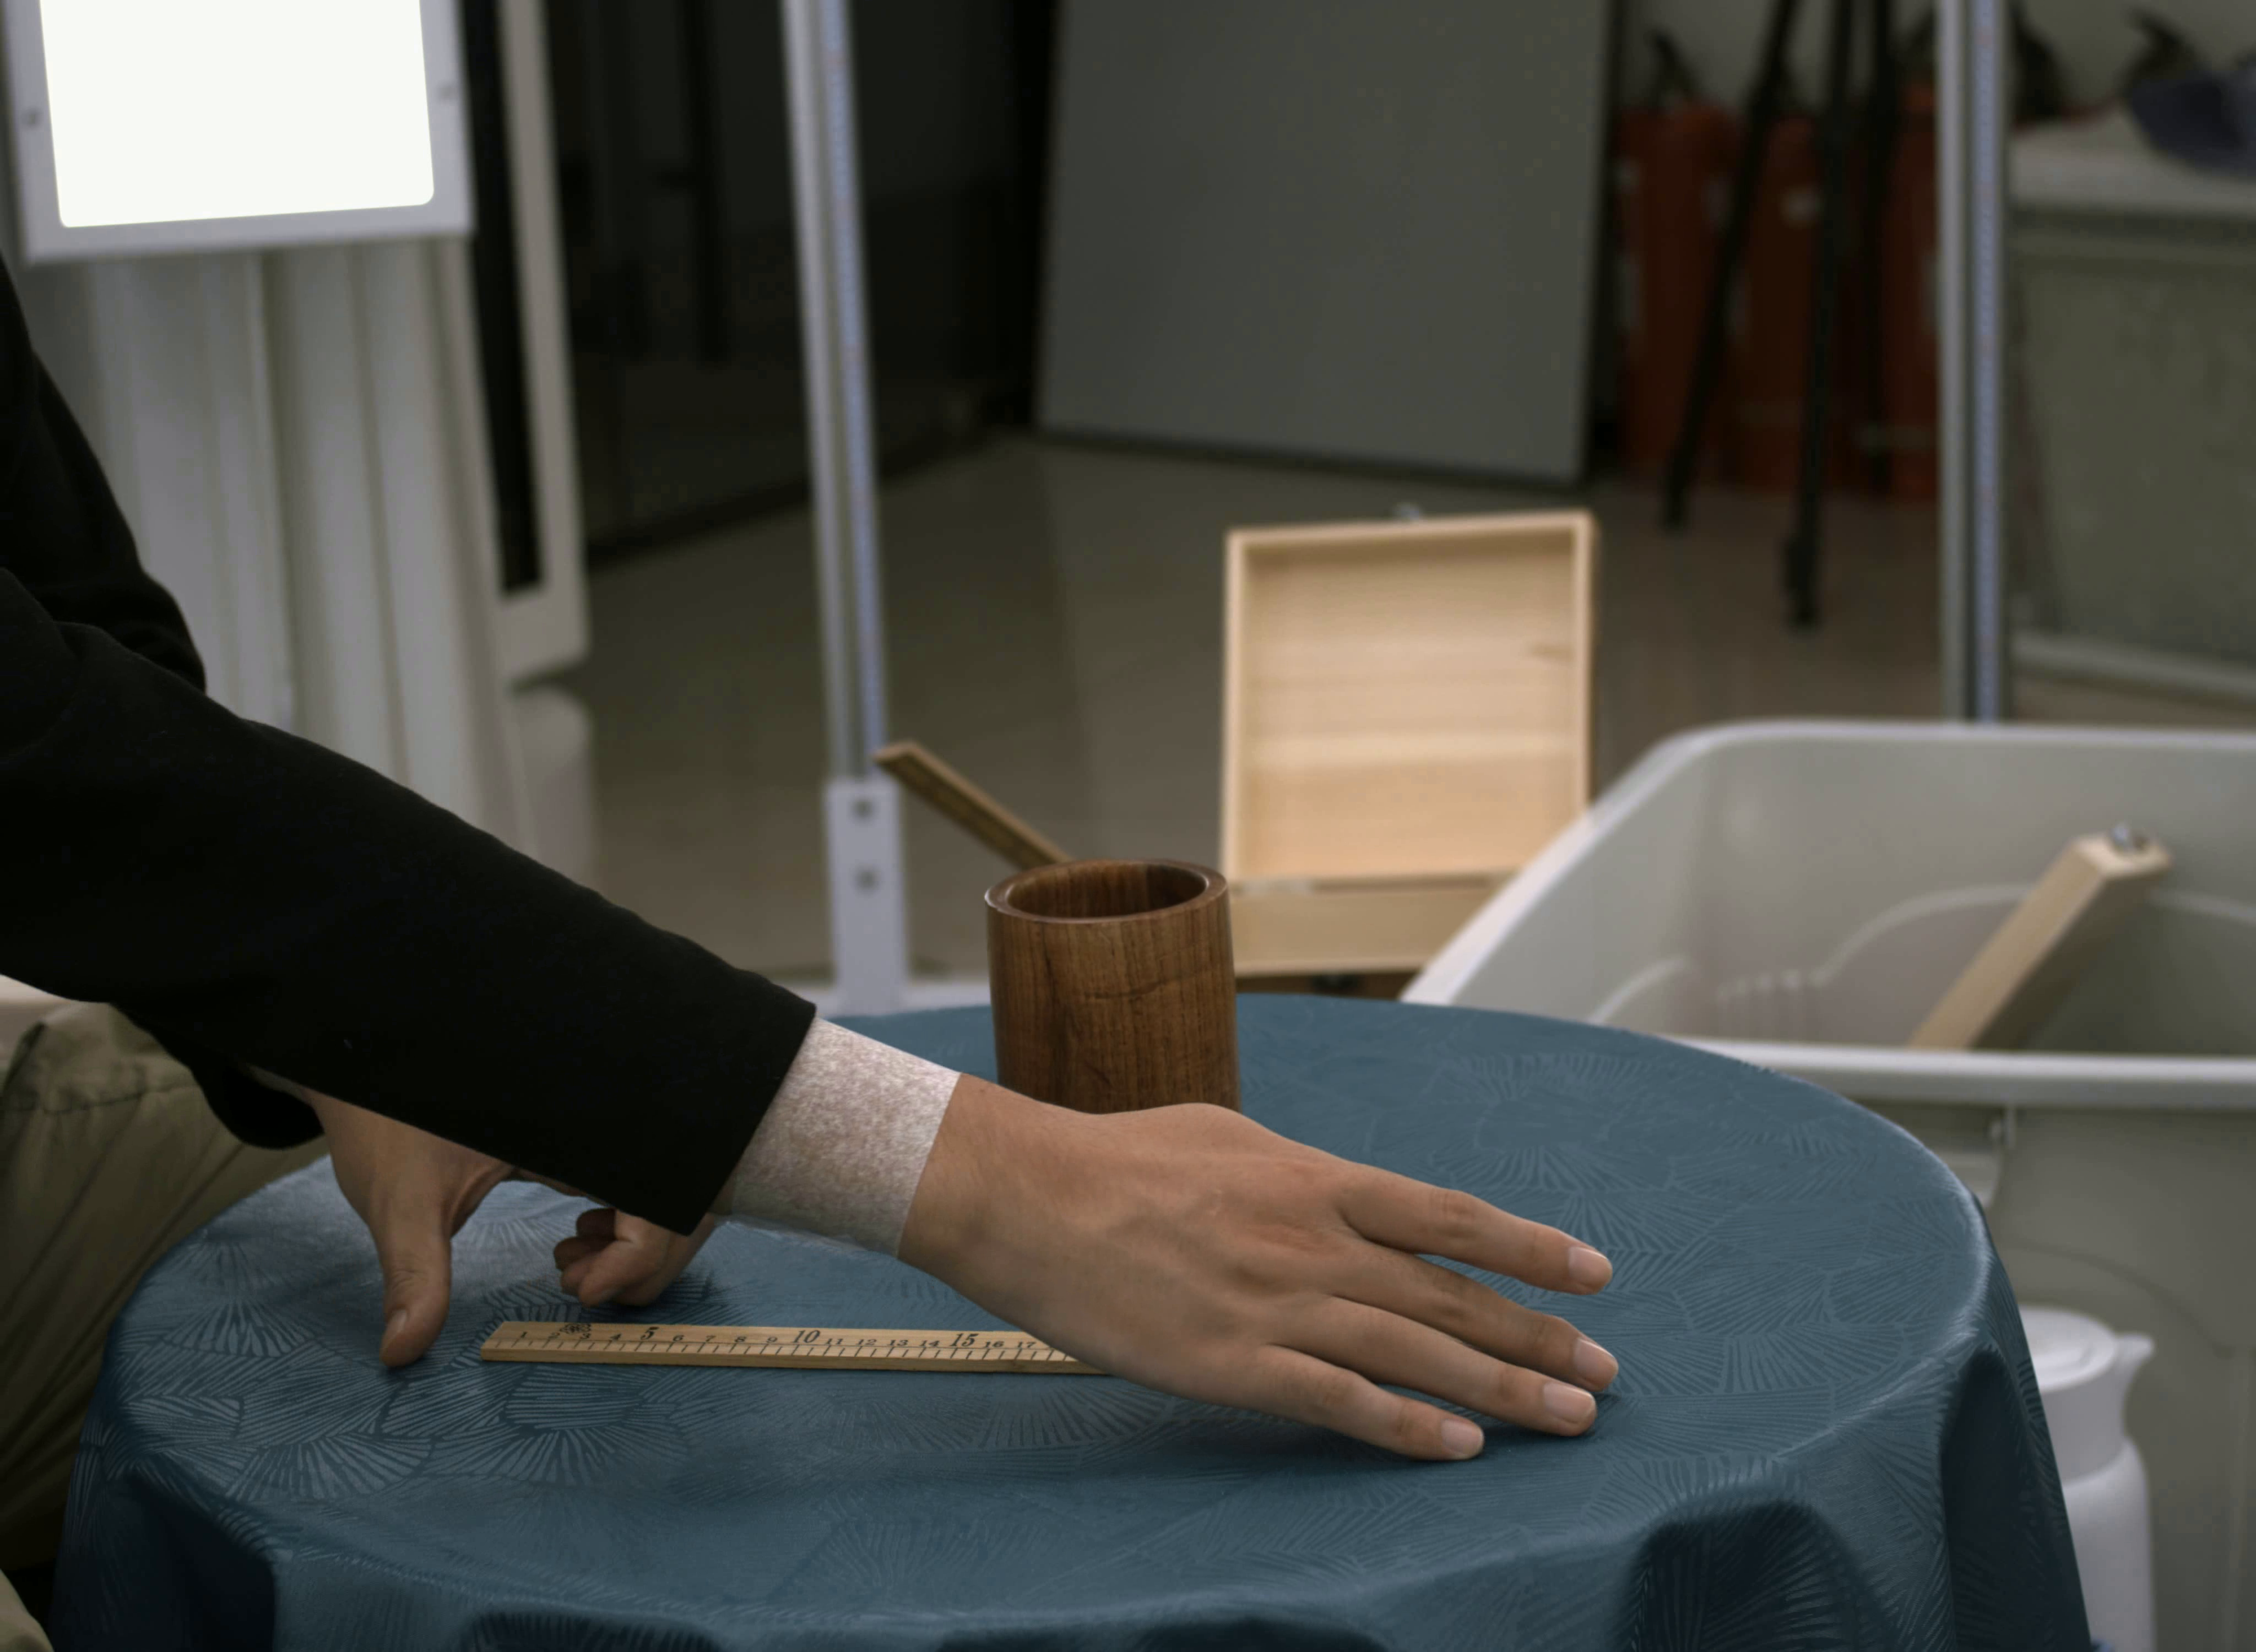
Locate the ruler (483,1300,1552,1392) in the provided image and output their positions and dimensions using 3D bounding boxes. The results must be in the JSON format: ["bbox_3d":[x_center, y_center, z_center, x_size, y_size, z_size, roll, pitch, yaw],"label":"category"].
[{"bbox_3d":[-0.036,0.156,1.619,0.330,0.022,0.027,0,9,16],"label":"ruler"}]

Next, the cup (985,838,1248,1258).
[{"bbox_3d":[-0.003,0.070,1.731,0.086,0.120,0.088,-4,12,0],"label":"cup"}]
